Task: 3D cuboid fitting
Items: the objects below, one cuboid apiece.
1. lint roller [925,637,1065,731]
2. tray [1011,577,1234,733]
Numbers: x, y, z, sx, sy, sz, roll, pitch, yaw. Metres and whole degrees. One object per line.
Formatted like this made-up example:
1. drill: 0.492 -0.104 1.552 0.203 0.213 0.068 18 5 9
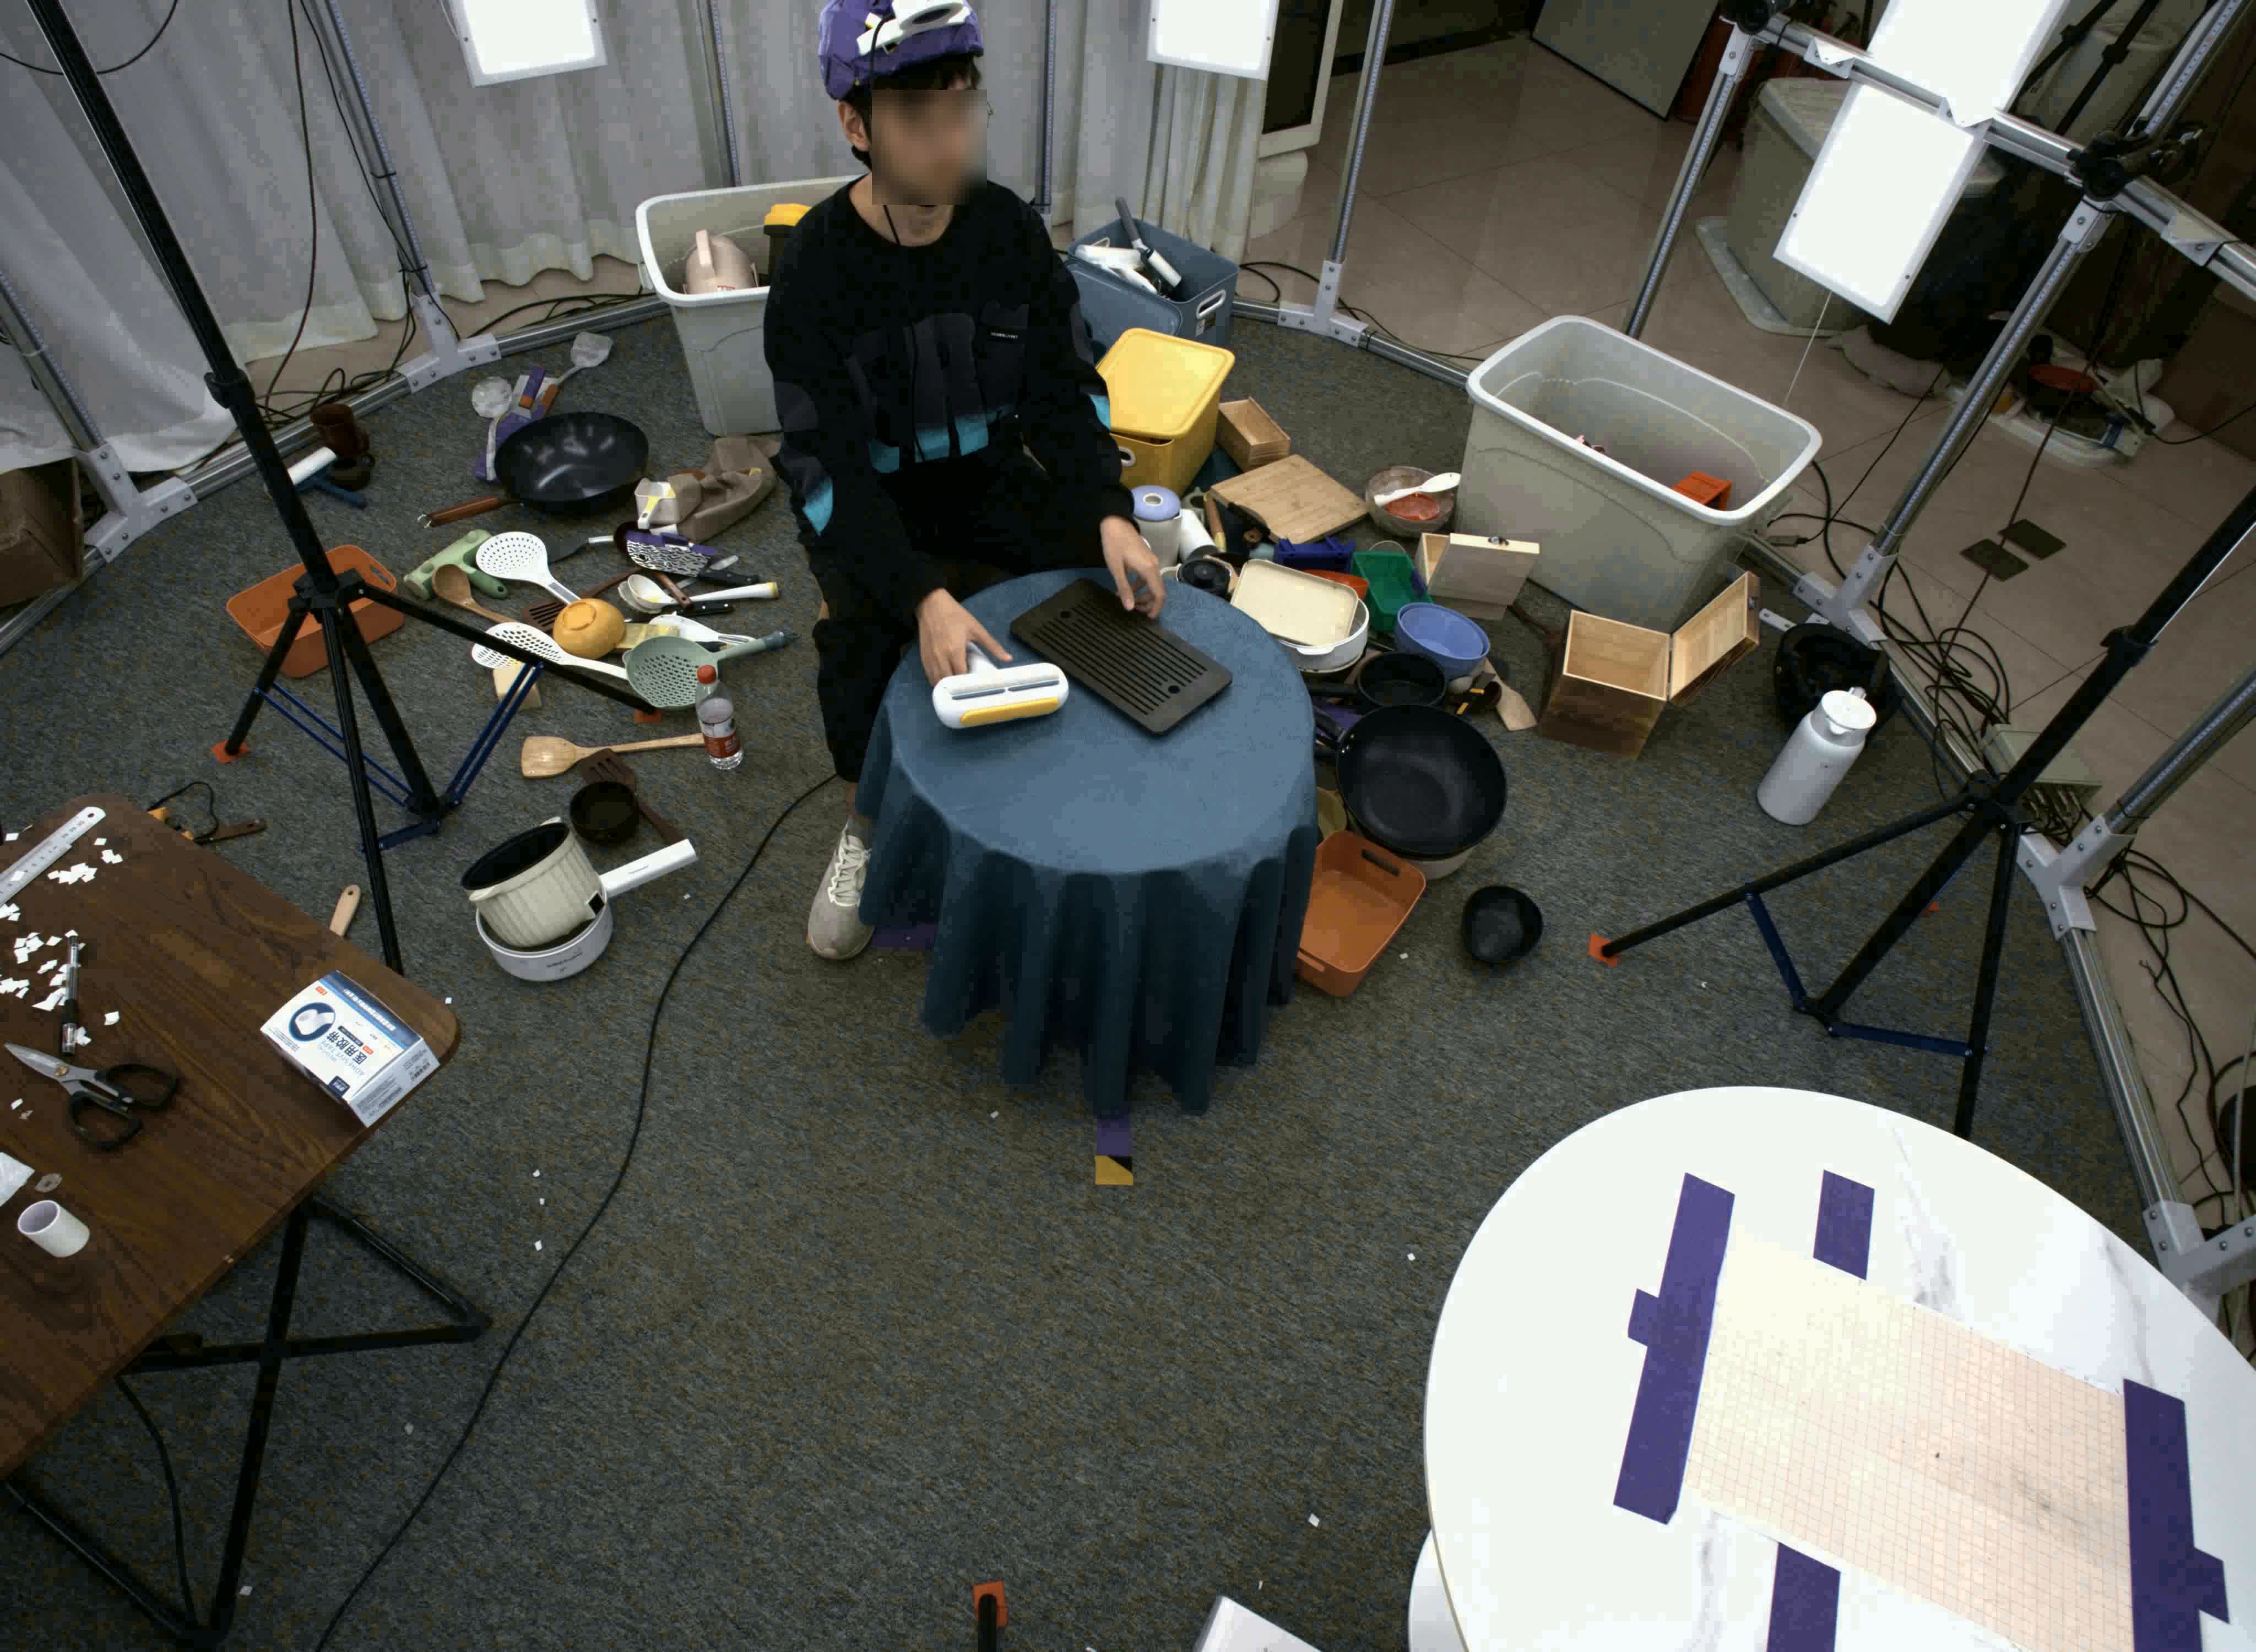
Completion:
1. lint roller: -0.203 -0.214 1.797 0.193 0.072 0.197 -12 49 -20
2. tray: -0.010 -0.252 1.874 0.310 0.018 0.172 37 57 25
